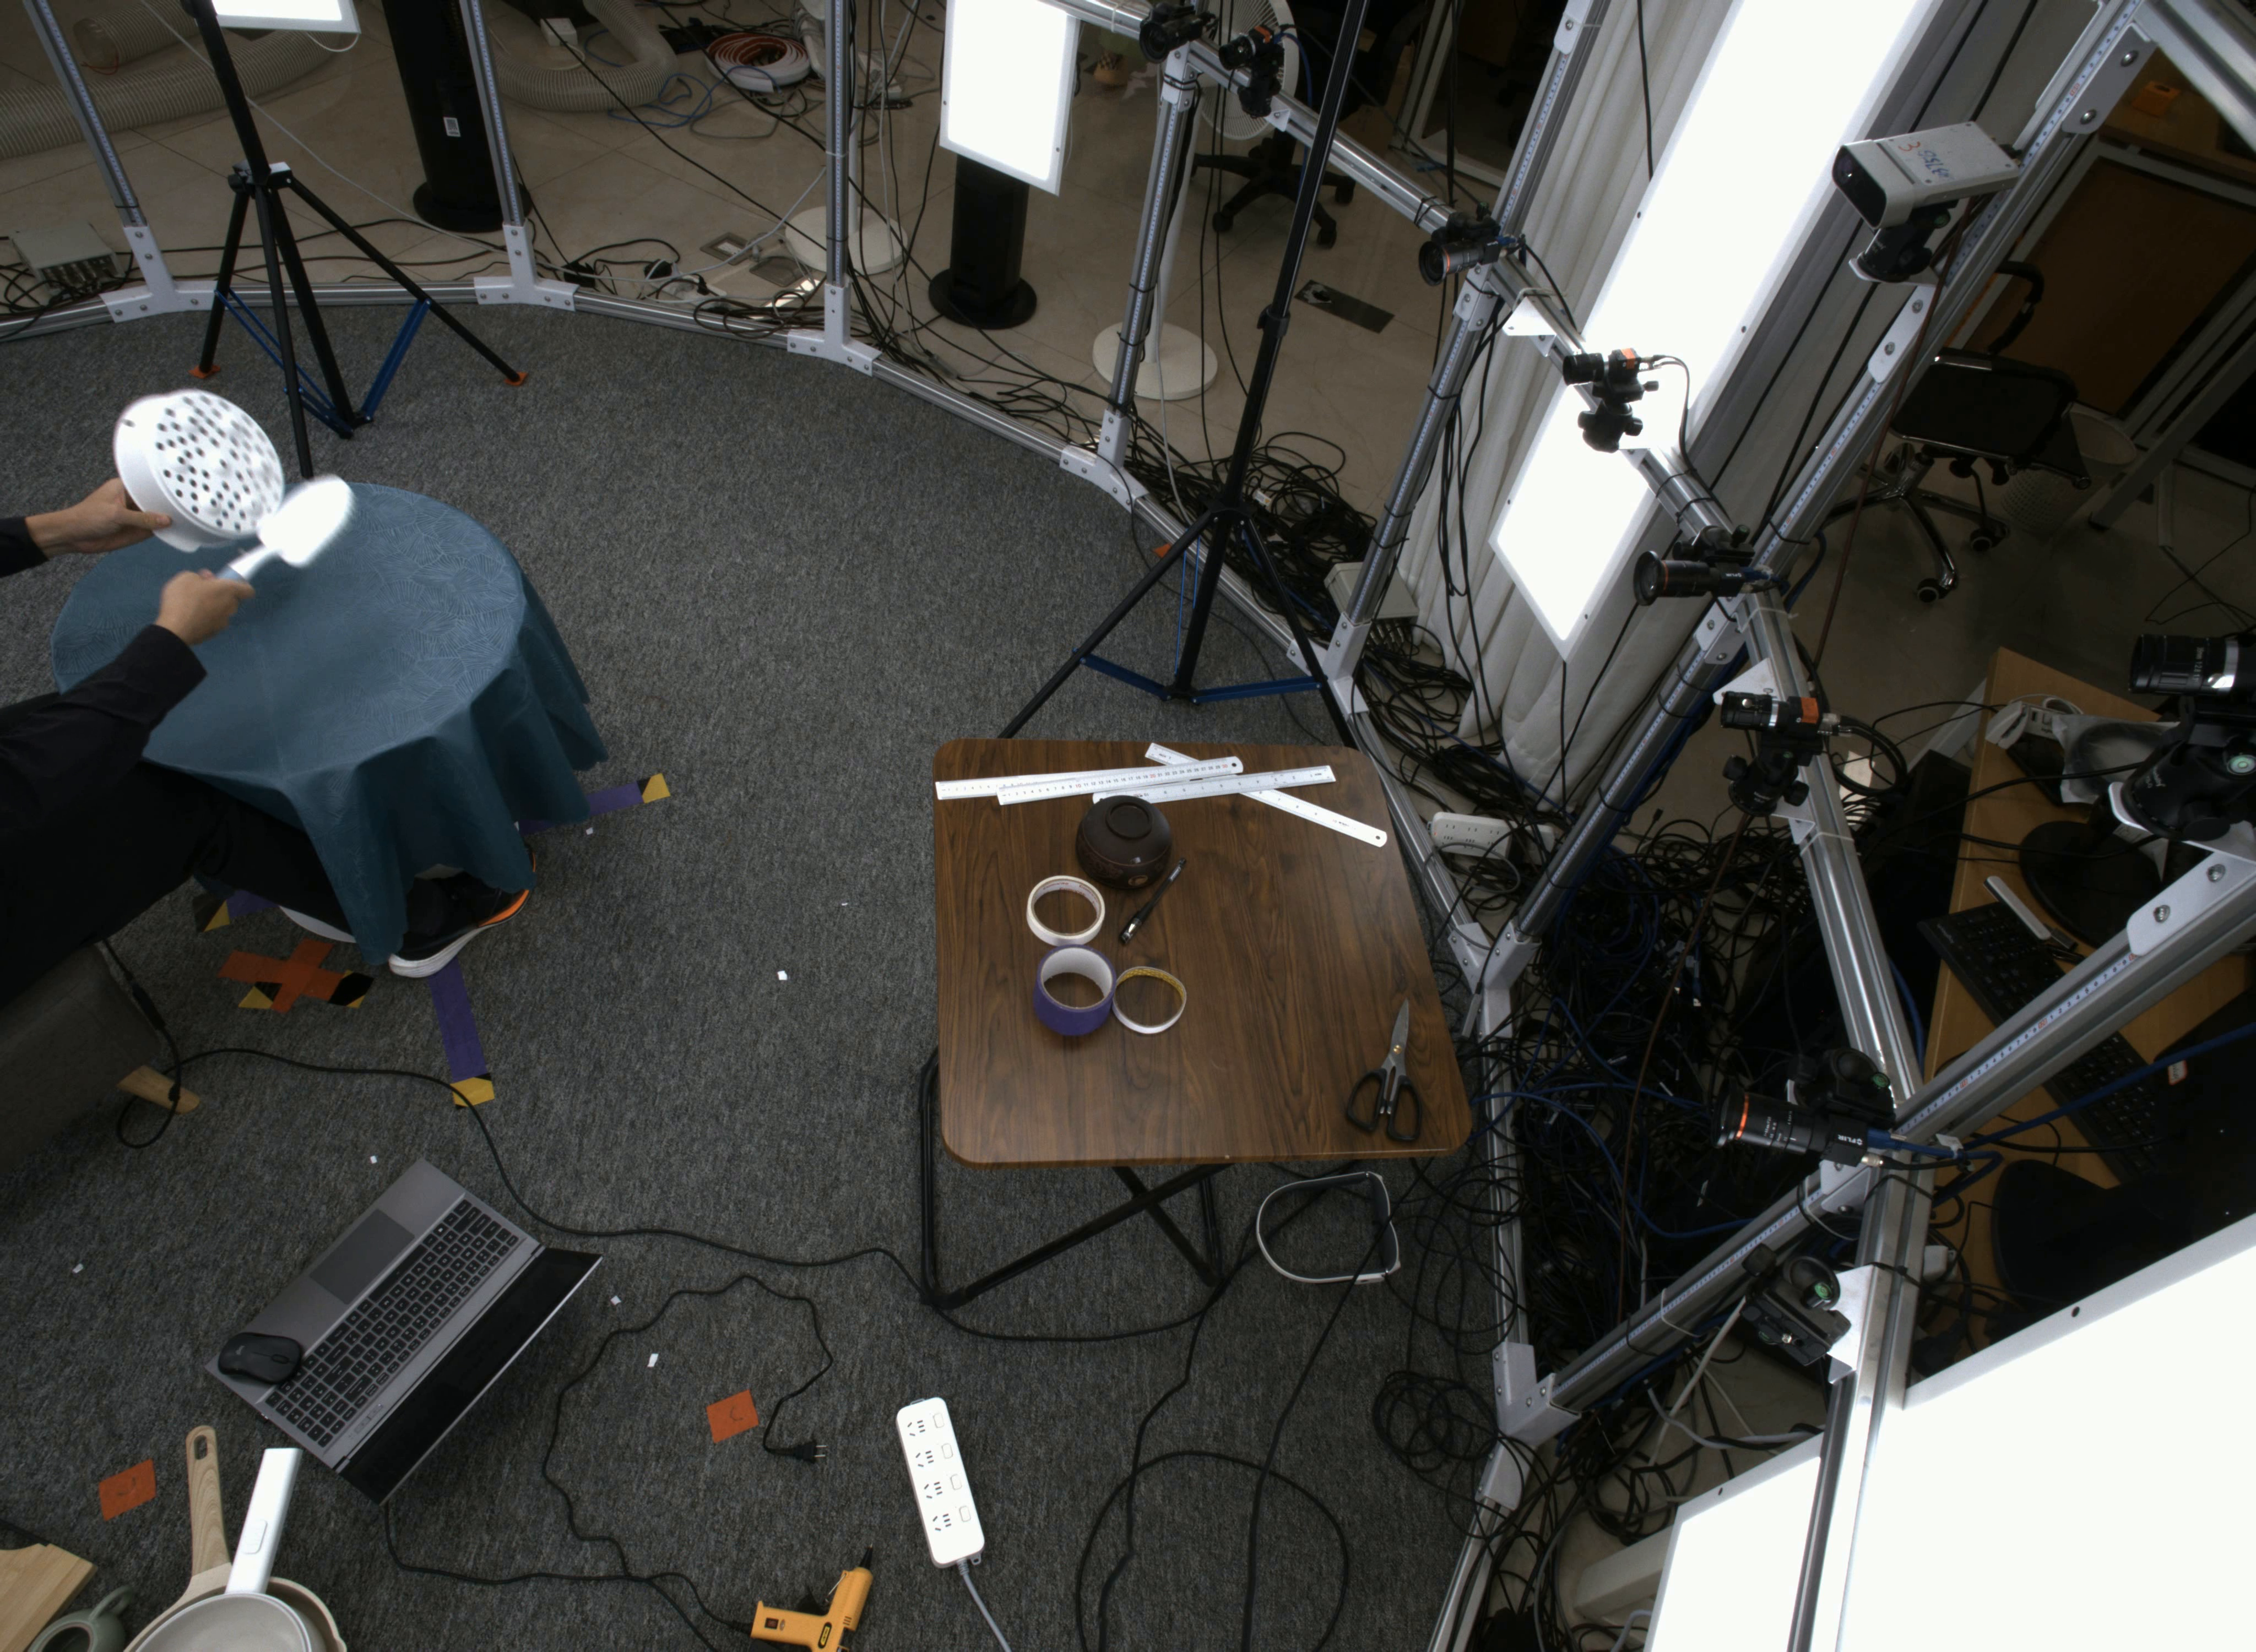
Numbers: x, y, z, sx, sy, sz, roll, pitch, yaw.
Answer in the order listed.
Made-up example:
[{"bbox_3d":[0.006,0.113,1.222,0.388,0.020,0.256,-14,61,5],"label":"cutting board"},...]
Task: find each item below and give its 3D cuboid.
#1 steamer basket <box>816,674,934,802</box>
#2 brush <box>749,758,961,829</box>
[{"bbox_3d":[-0.404,-0.144,2.098,0.067,0.208,0.229,-10,32,40],"label":"steamer basket"},{"bbox_3d":[-0.402,-0.035,1.925,0.327,0.087,0.080,-17,26,-24],"label":"brush"}]
